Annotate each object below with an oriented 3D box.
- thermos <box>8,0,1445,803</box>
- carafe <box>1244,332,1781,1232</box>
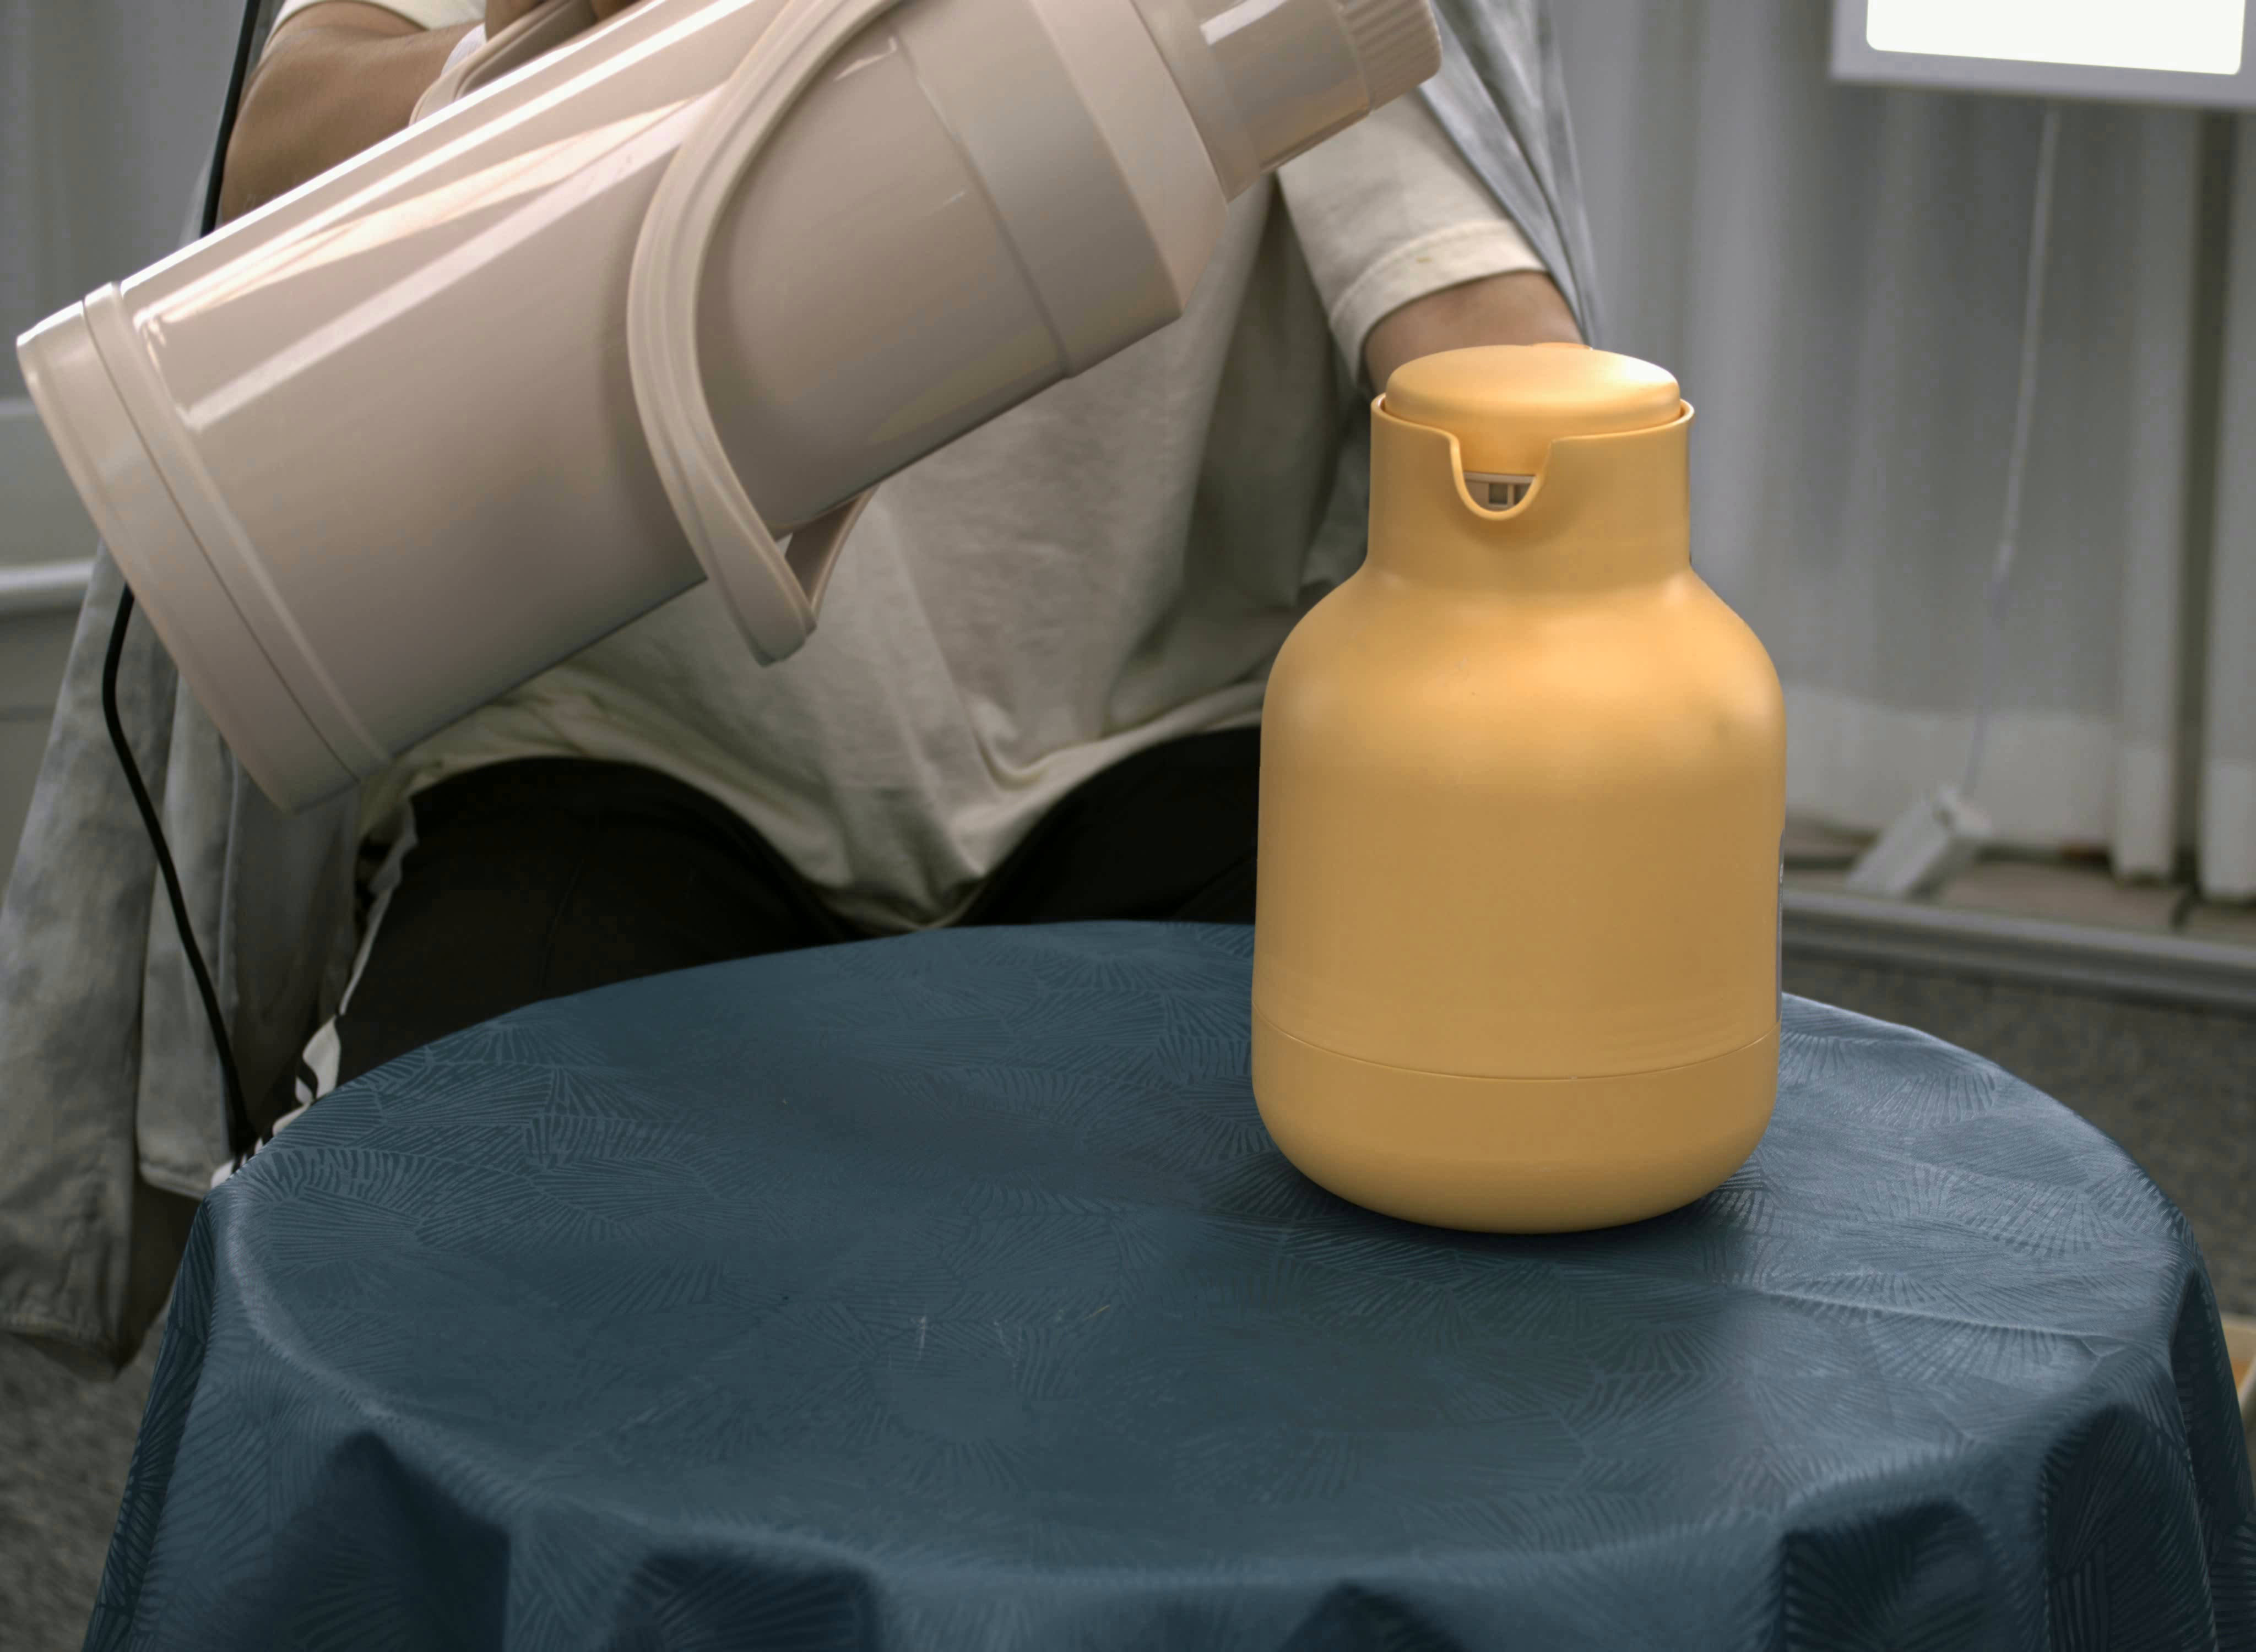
[{"bbox_3d":[-0.114,-0.180,1.525,0.405,0.177,0.205,-29,59,-1],"label":"thermos"},{"bbox_3d":[0.124,-0.022,1.623,0.162,0.262,0.202,6,18,12],"label":"carafe"}]
